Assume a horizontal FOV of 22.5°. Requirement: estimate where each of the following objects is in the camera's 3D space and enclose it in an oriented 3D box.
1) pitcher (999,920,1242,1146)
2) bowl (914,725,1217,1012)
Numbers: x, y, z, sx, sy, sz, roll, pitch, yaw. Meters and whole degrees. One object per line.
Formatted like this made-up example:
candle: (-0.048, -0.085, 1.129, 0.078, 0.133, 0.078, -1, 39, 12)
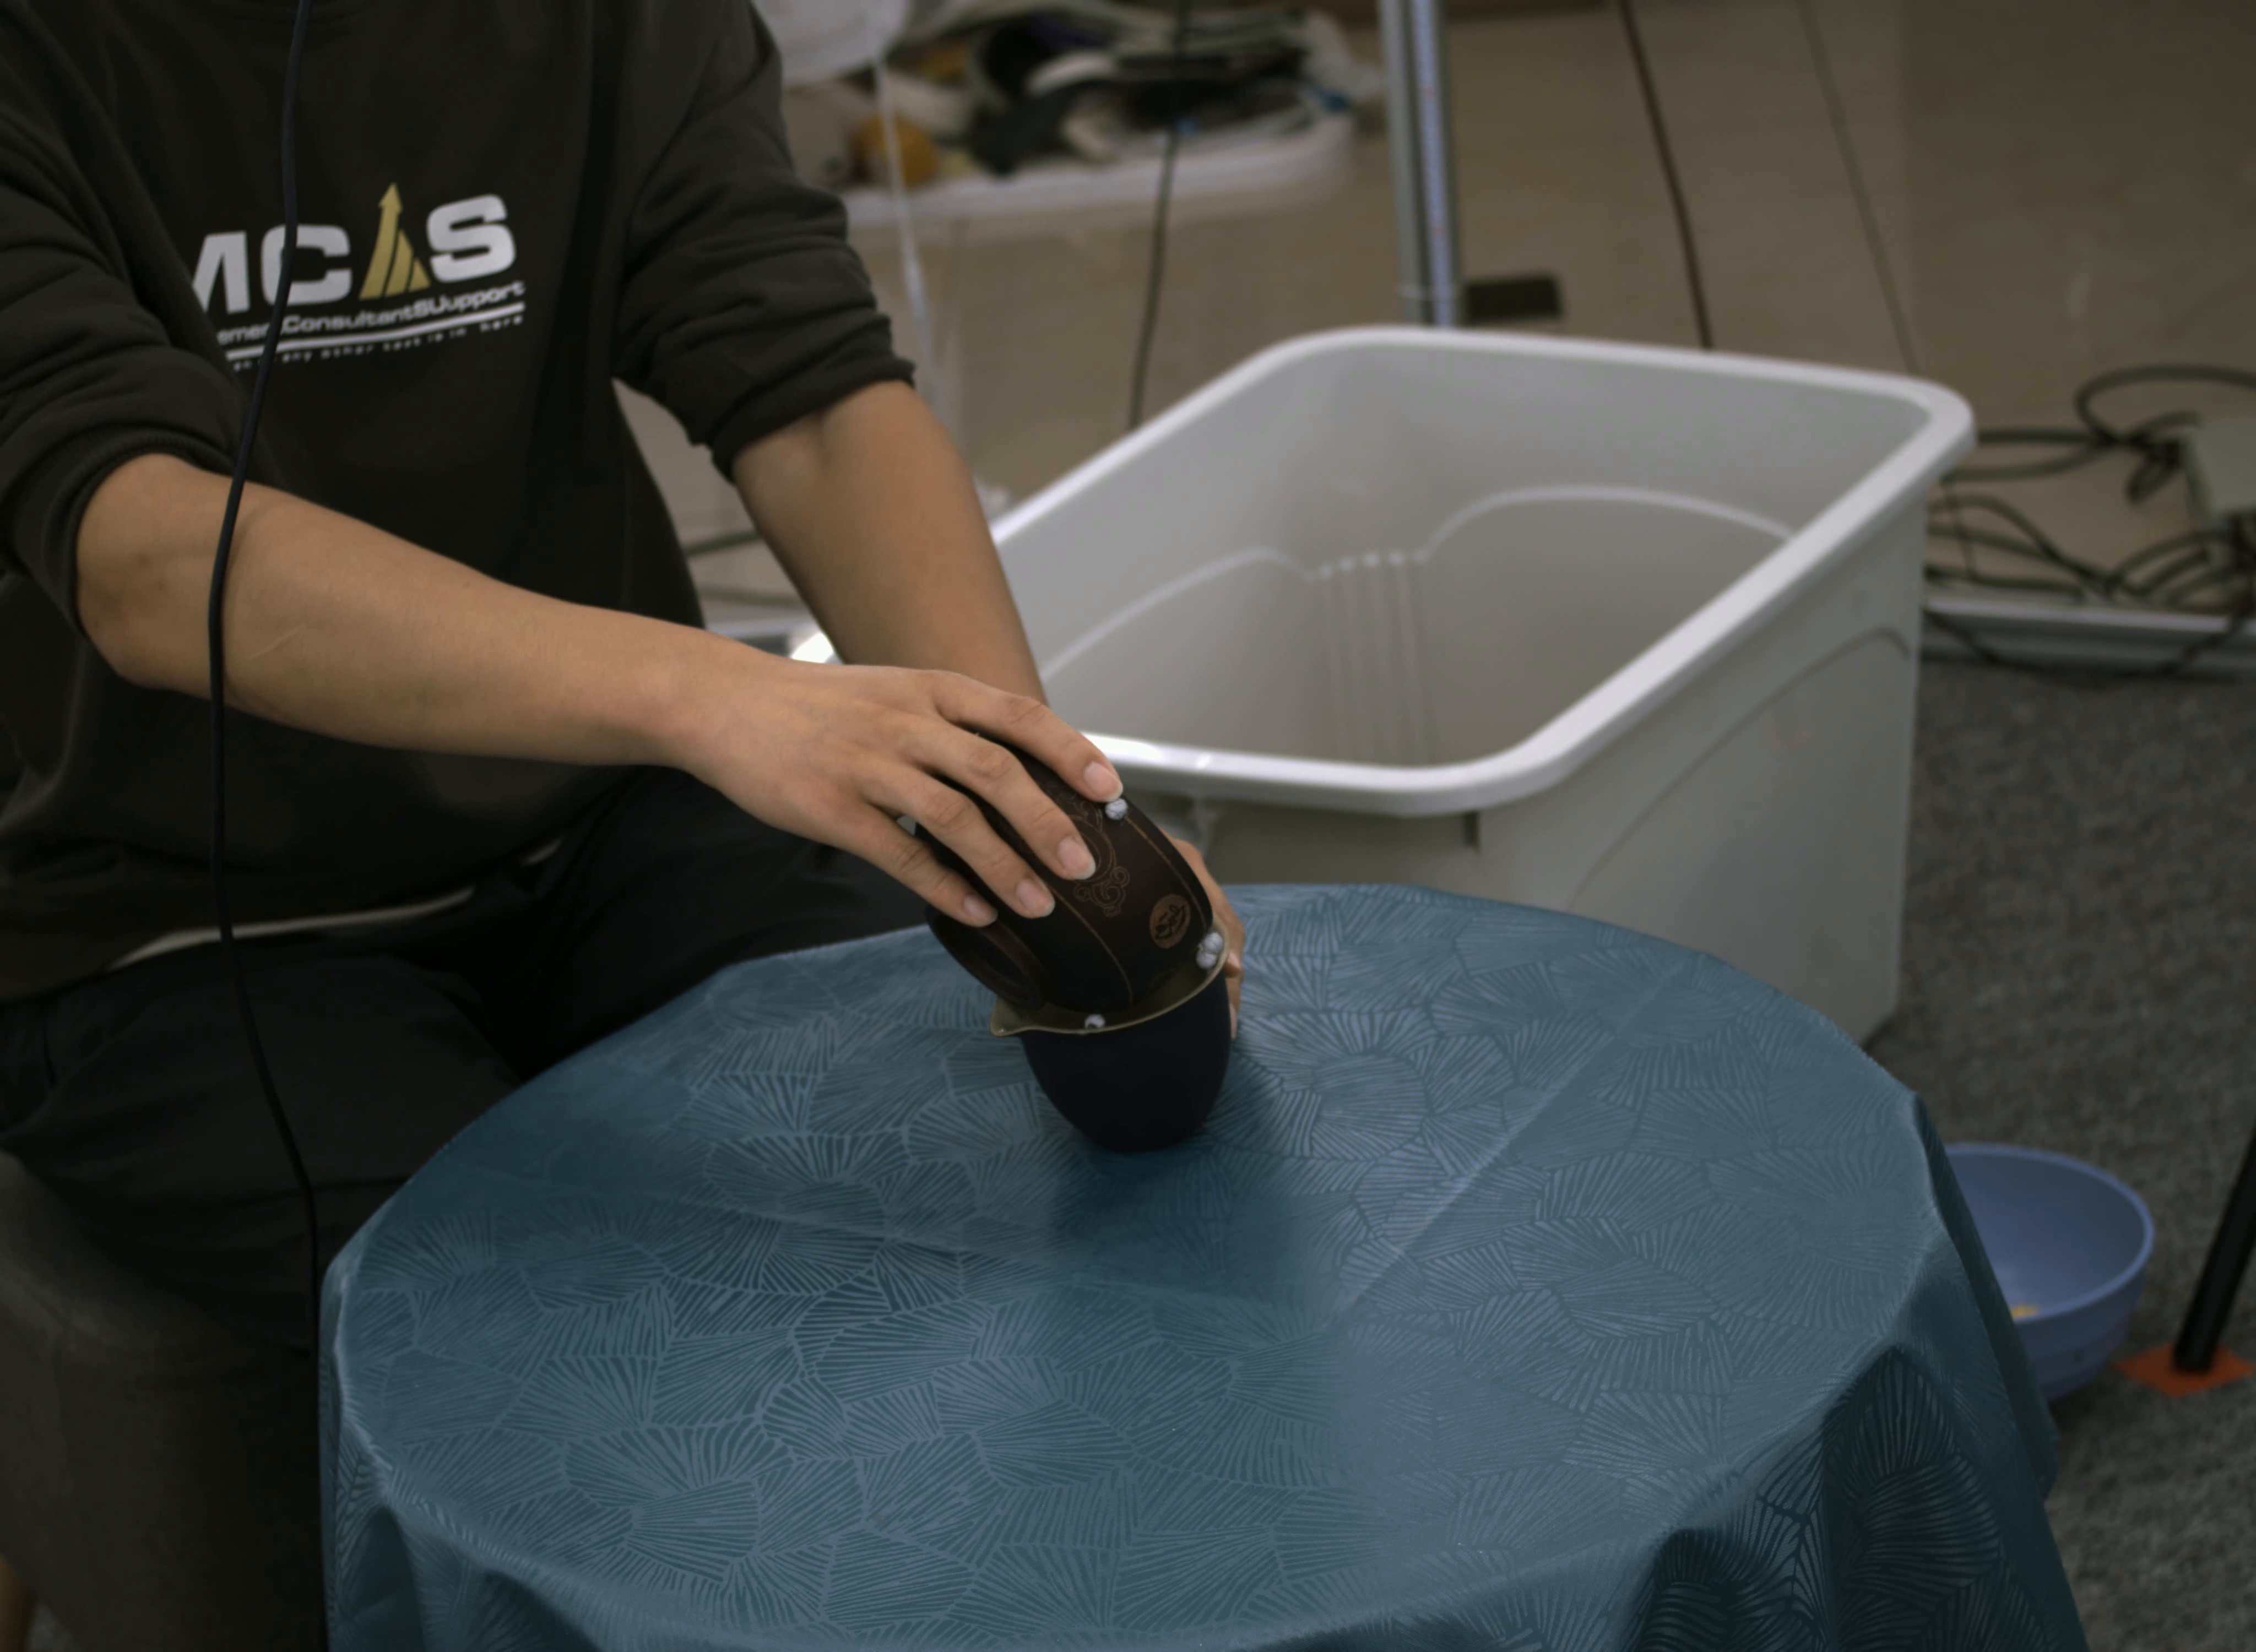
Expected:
pitcher: (0.000, 0.082, 2.176, 0.095, 0.072, 0.082, -25, 36, -14)
bowl: (-0.032, 0.025, 2.125, 0.117, 0.120, 0.069, 21, 66, 45)
